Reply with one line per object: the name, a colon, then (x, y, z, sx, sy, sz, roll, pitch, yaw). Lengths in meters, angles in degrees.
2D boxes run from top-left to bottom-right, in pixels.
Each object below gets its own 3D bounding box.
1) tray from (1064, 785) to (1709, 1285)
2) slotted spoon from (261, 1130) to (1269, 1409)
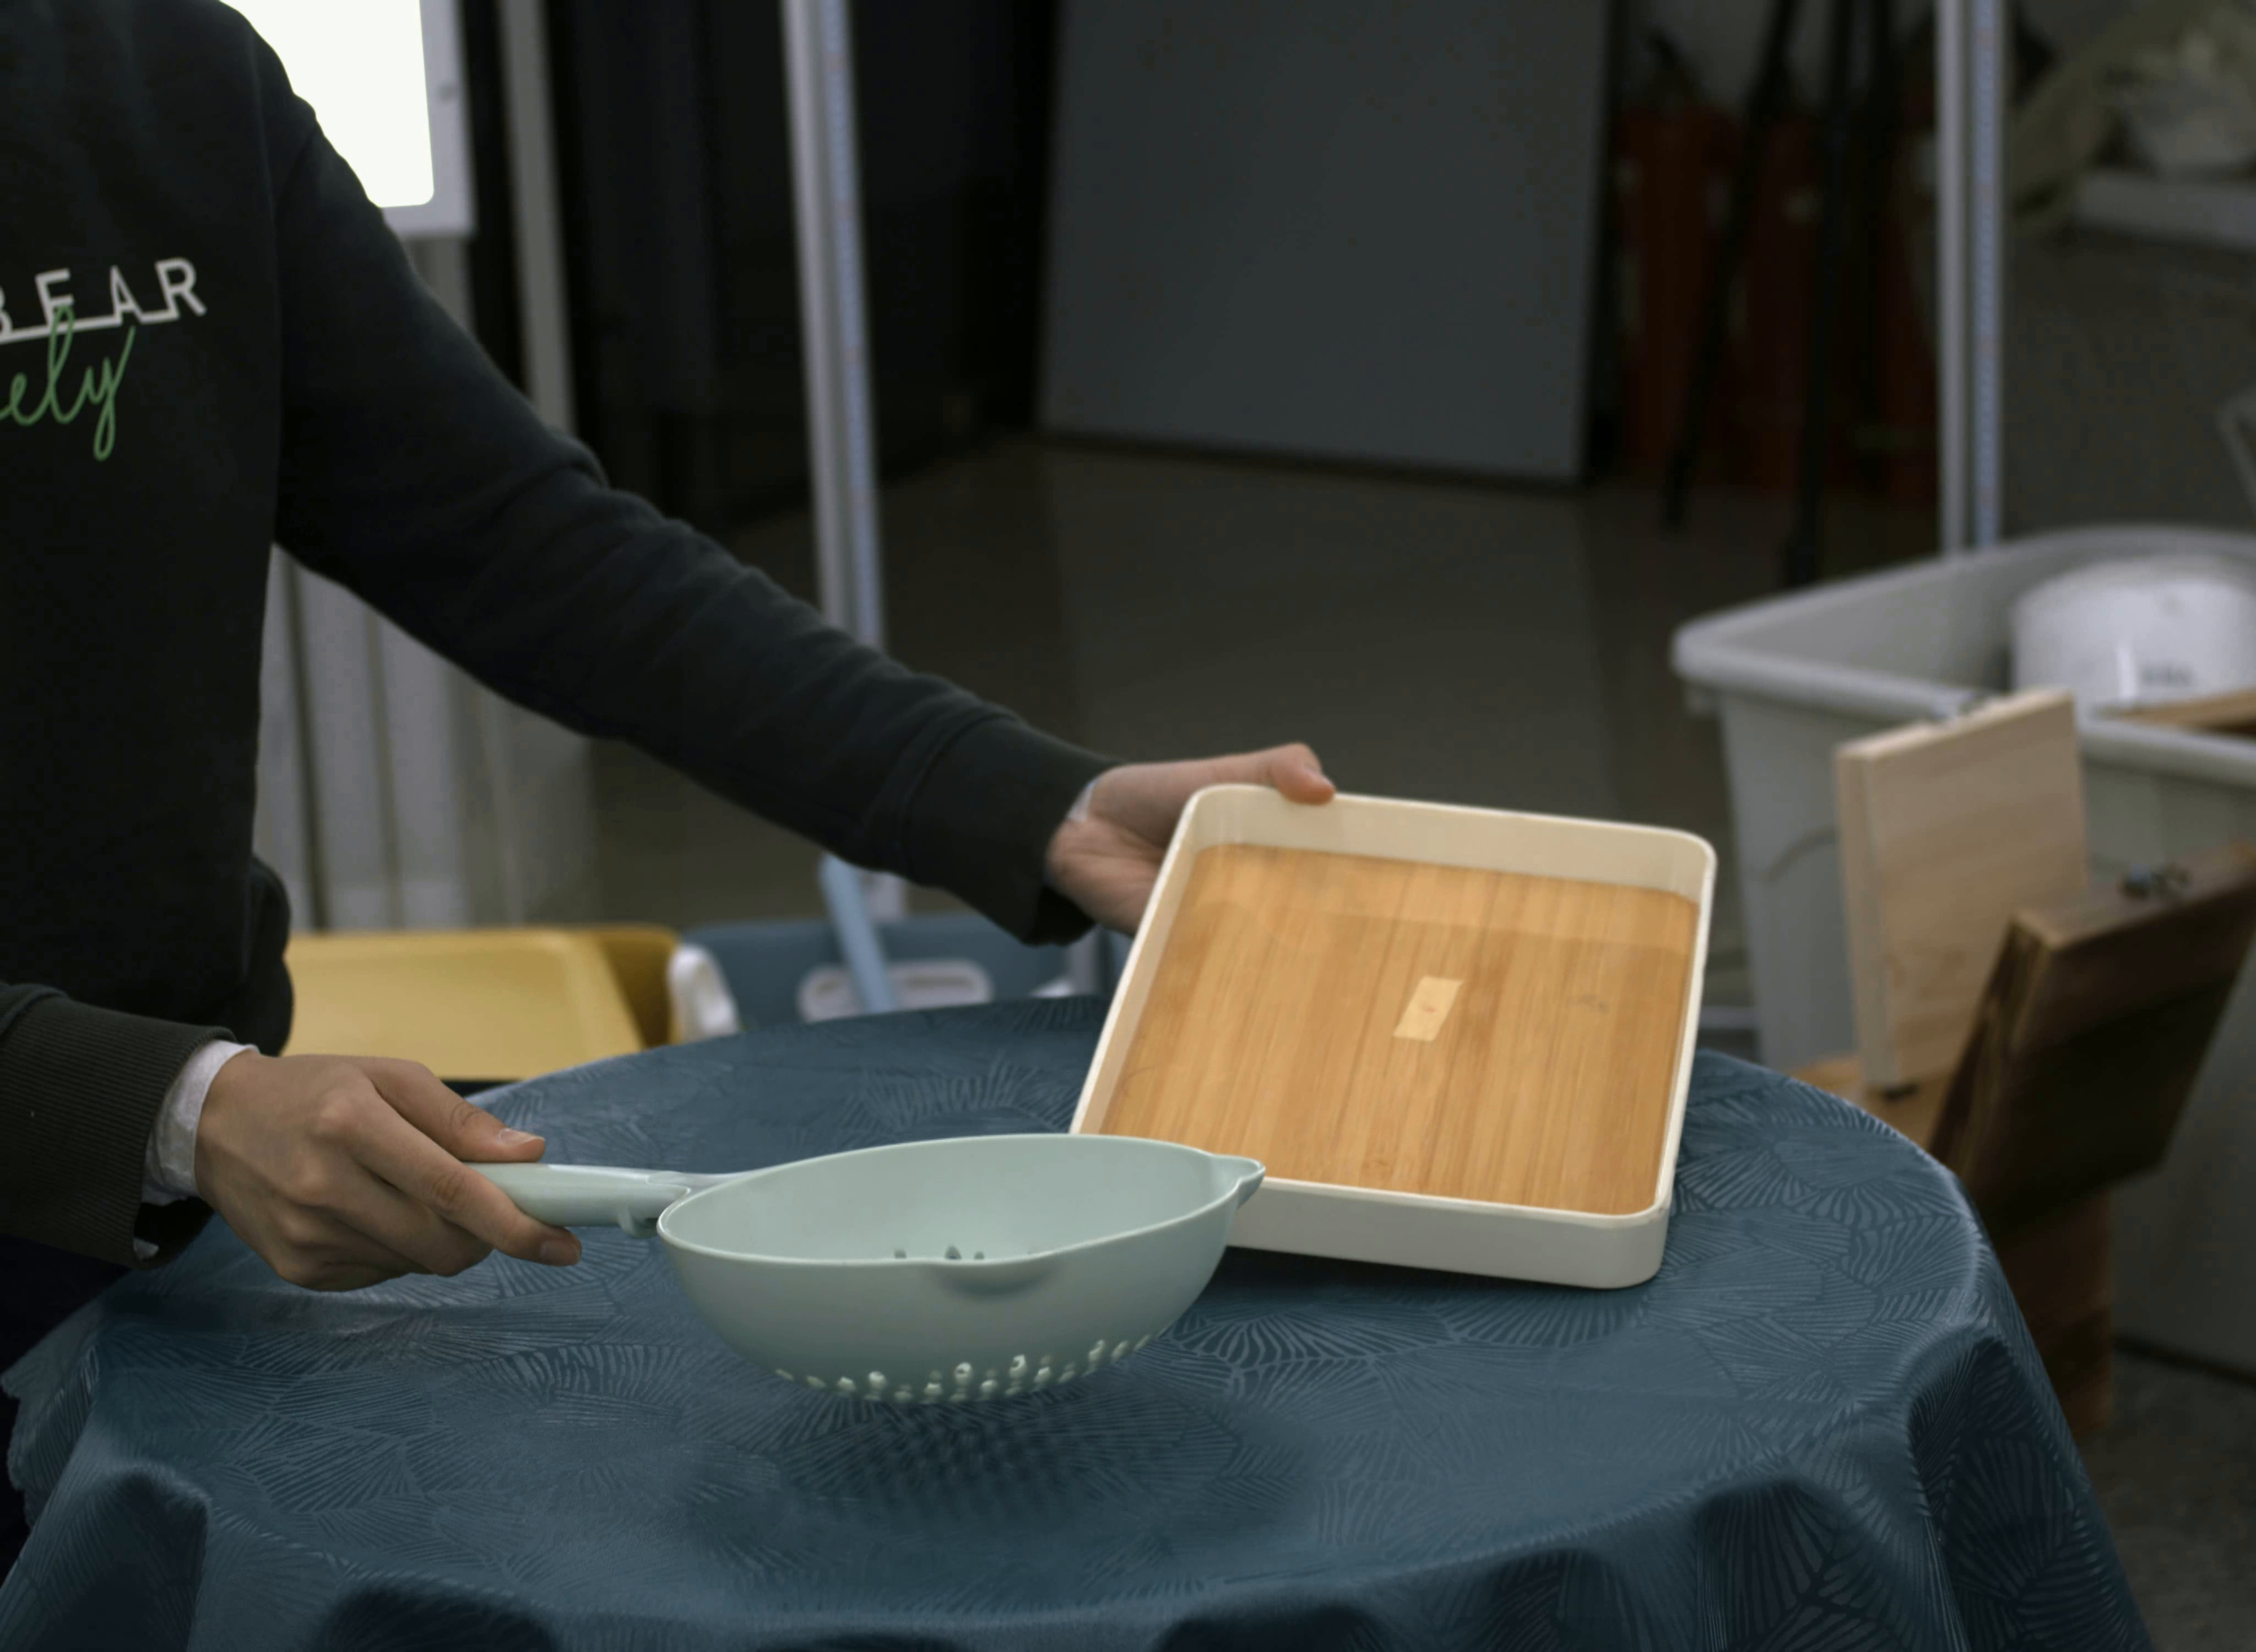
tray: (0.092, 0.064, 1.785, 0.190, 0.028, 0.299, 6, 24, 8)
slotted spoon: (-0.127, 0.117, 1.609, 0.361, 0.076, 0.166, 10, 14, 35)
